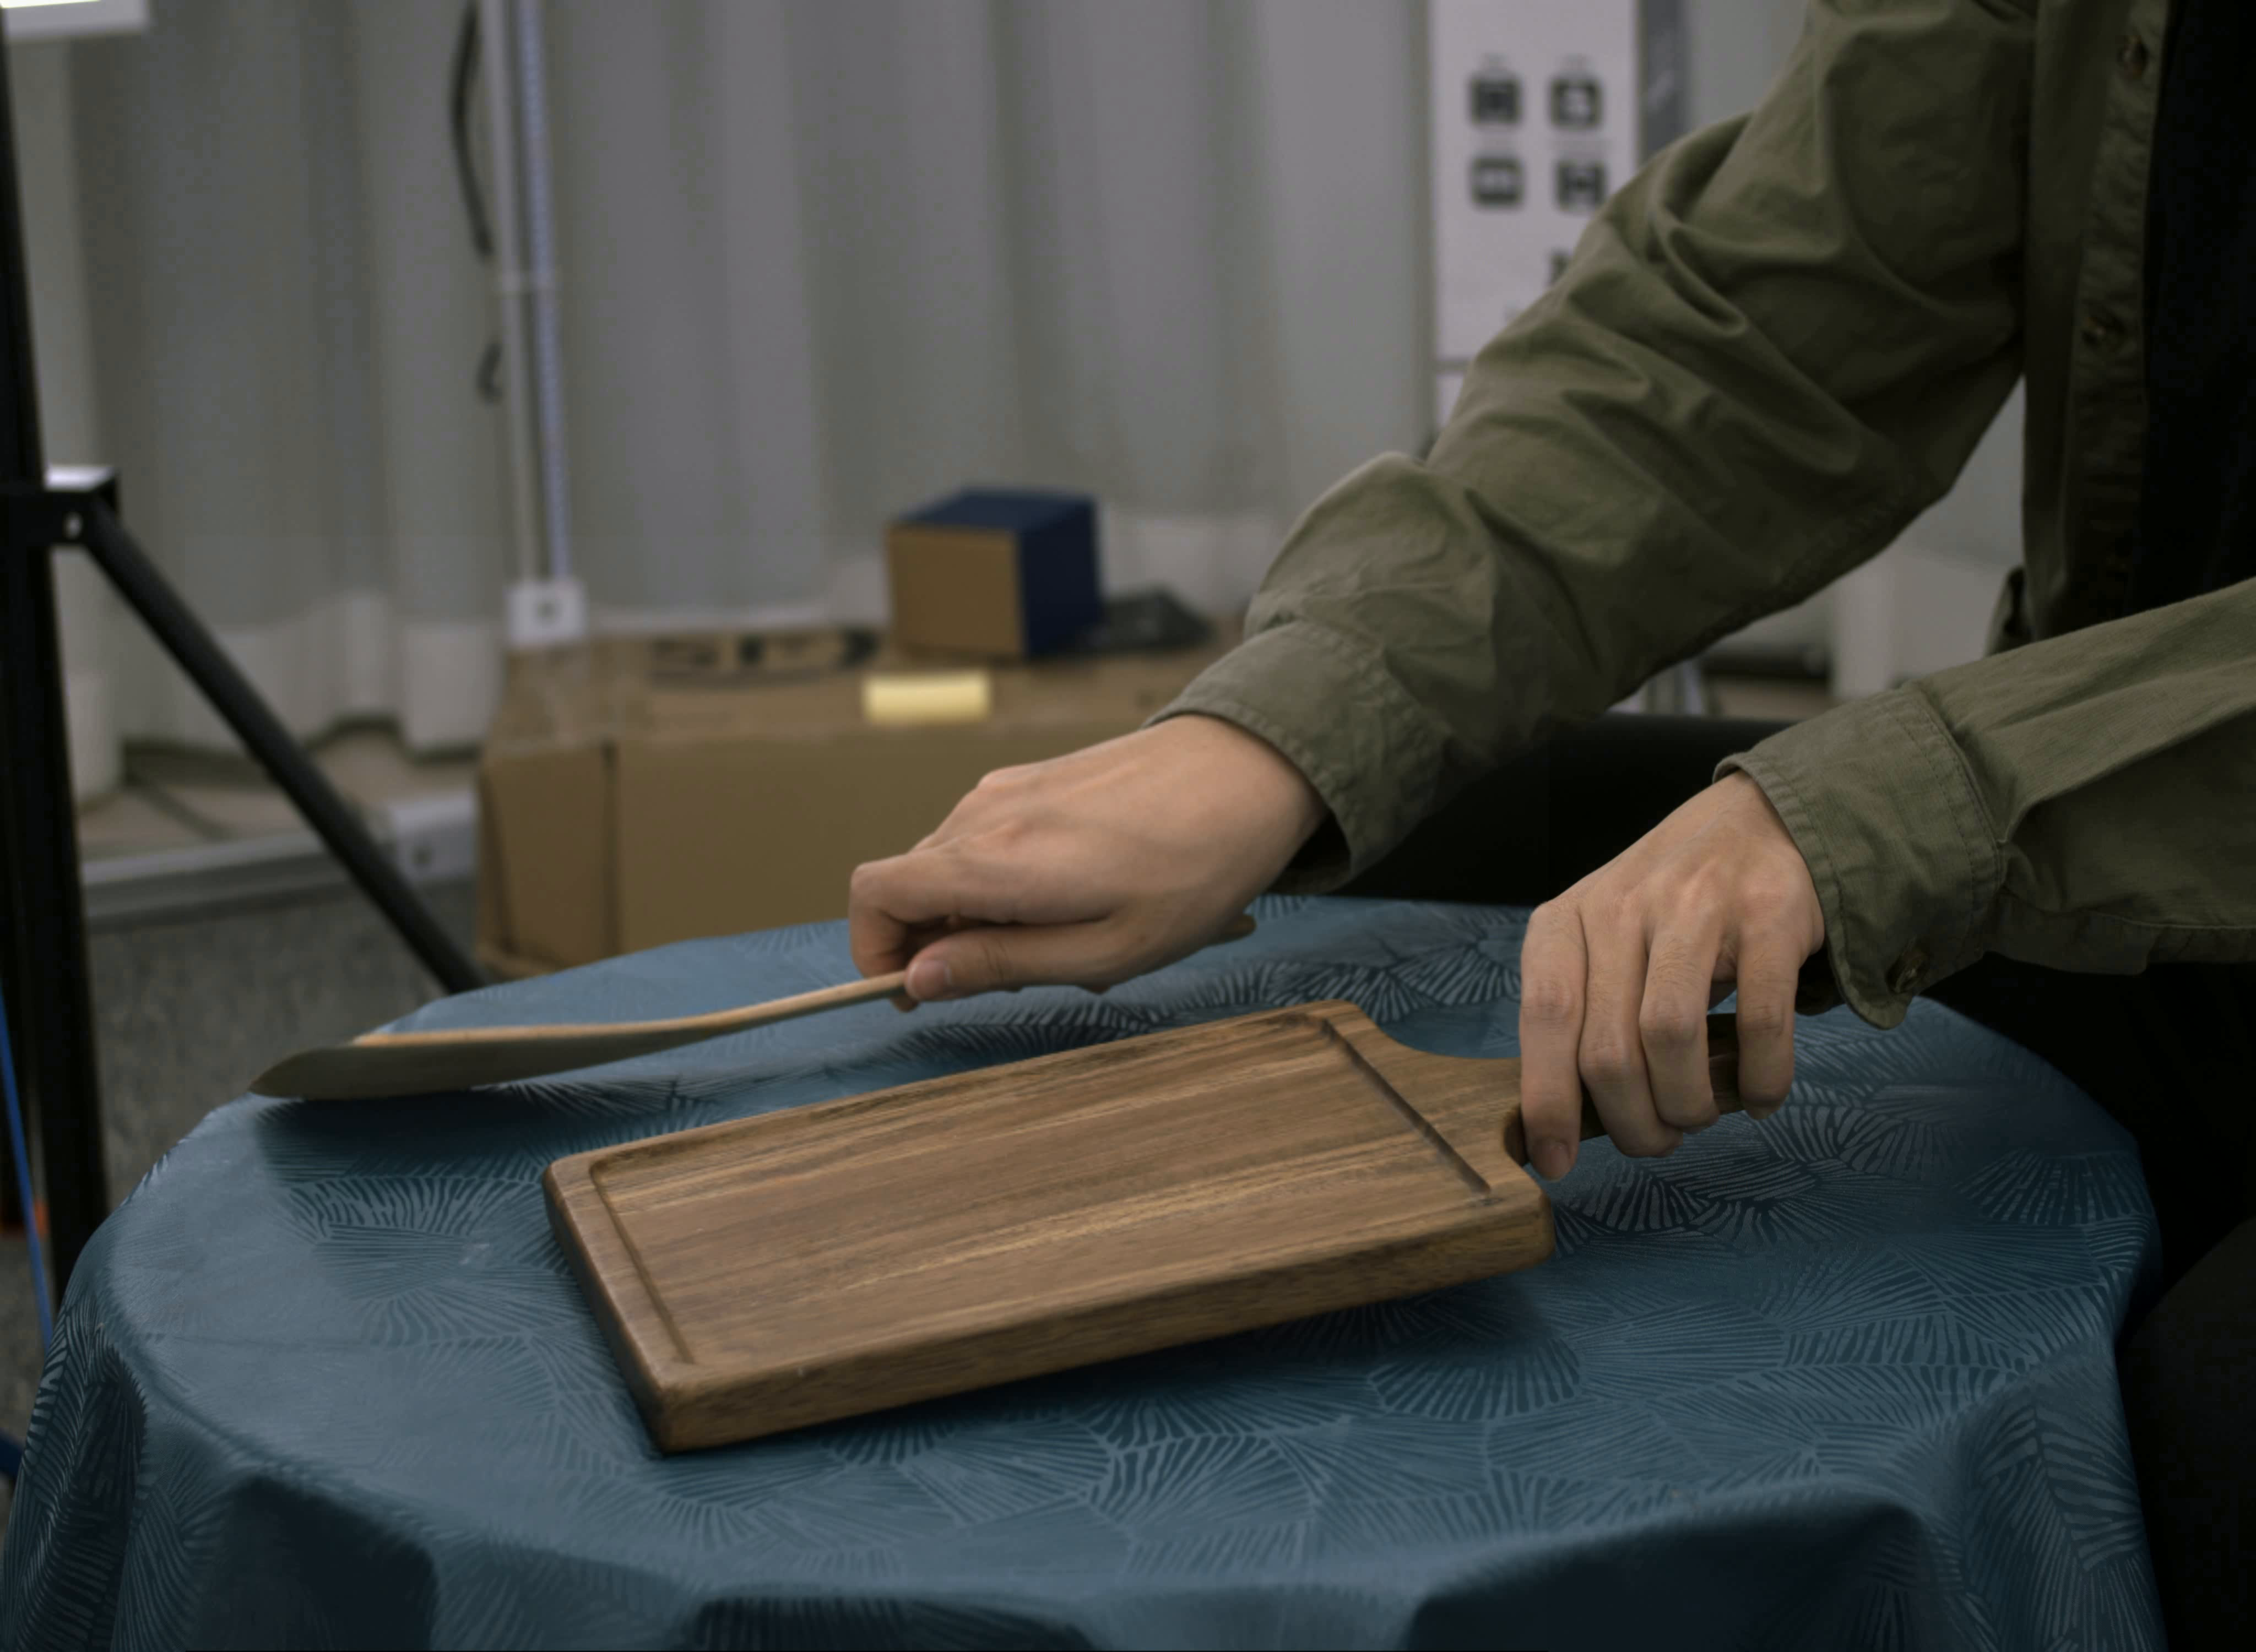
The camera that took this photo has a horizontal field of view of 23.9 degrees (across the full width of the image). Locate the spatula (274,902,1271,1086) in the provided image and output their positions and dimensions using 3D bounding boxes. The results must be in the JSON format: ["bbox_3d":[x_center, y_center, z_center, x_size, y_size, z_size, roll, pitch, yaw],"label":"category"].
[{"bbox_3d":[-0.105,0.051,1.686,0.322,0.016,0.080,-10,-9,-19],"label":"spatula"}]

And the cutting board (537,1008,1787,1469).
[{"bbox_3d":[0.020,0.102,1.489,0.348,0.023,0.204,-11,18,-10],"label":"cutting board"}]
